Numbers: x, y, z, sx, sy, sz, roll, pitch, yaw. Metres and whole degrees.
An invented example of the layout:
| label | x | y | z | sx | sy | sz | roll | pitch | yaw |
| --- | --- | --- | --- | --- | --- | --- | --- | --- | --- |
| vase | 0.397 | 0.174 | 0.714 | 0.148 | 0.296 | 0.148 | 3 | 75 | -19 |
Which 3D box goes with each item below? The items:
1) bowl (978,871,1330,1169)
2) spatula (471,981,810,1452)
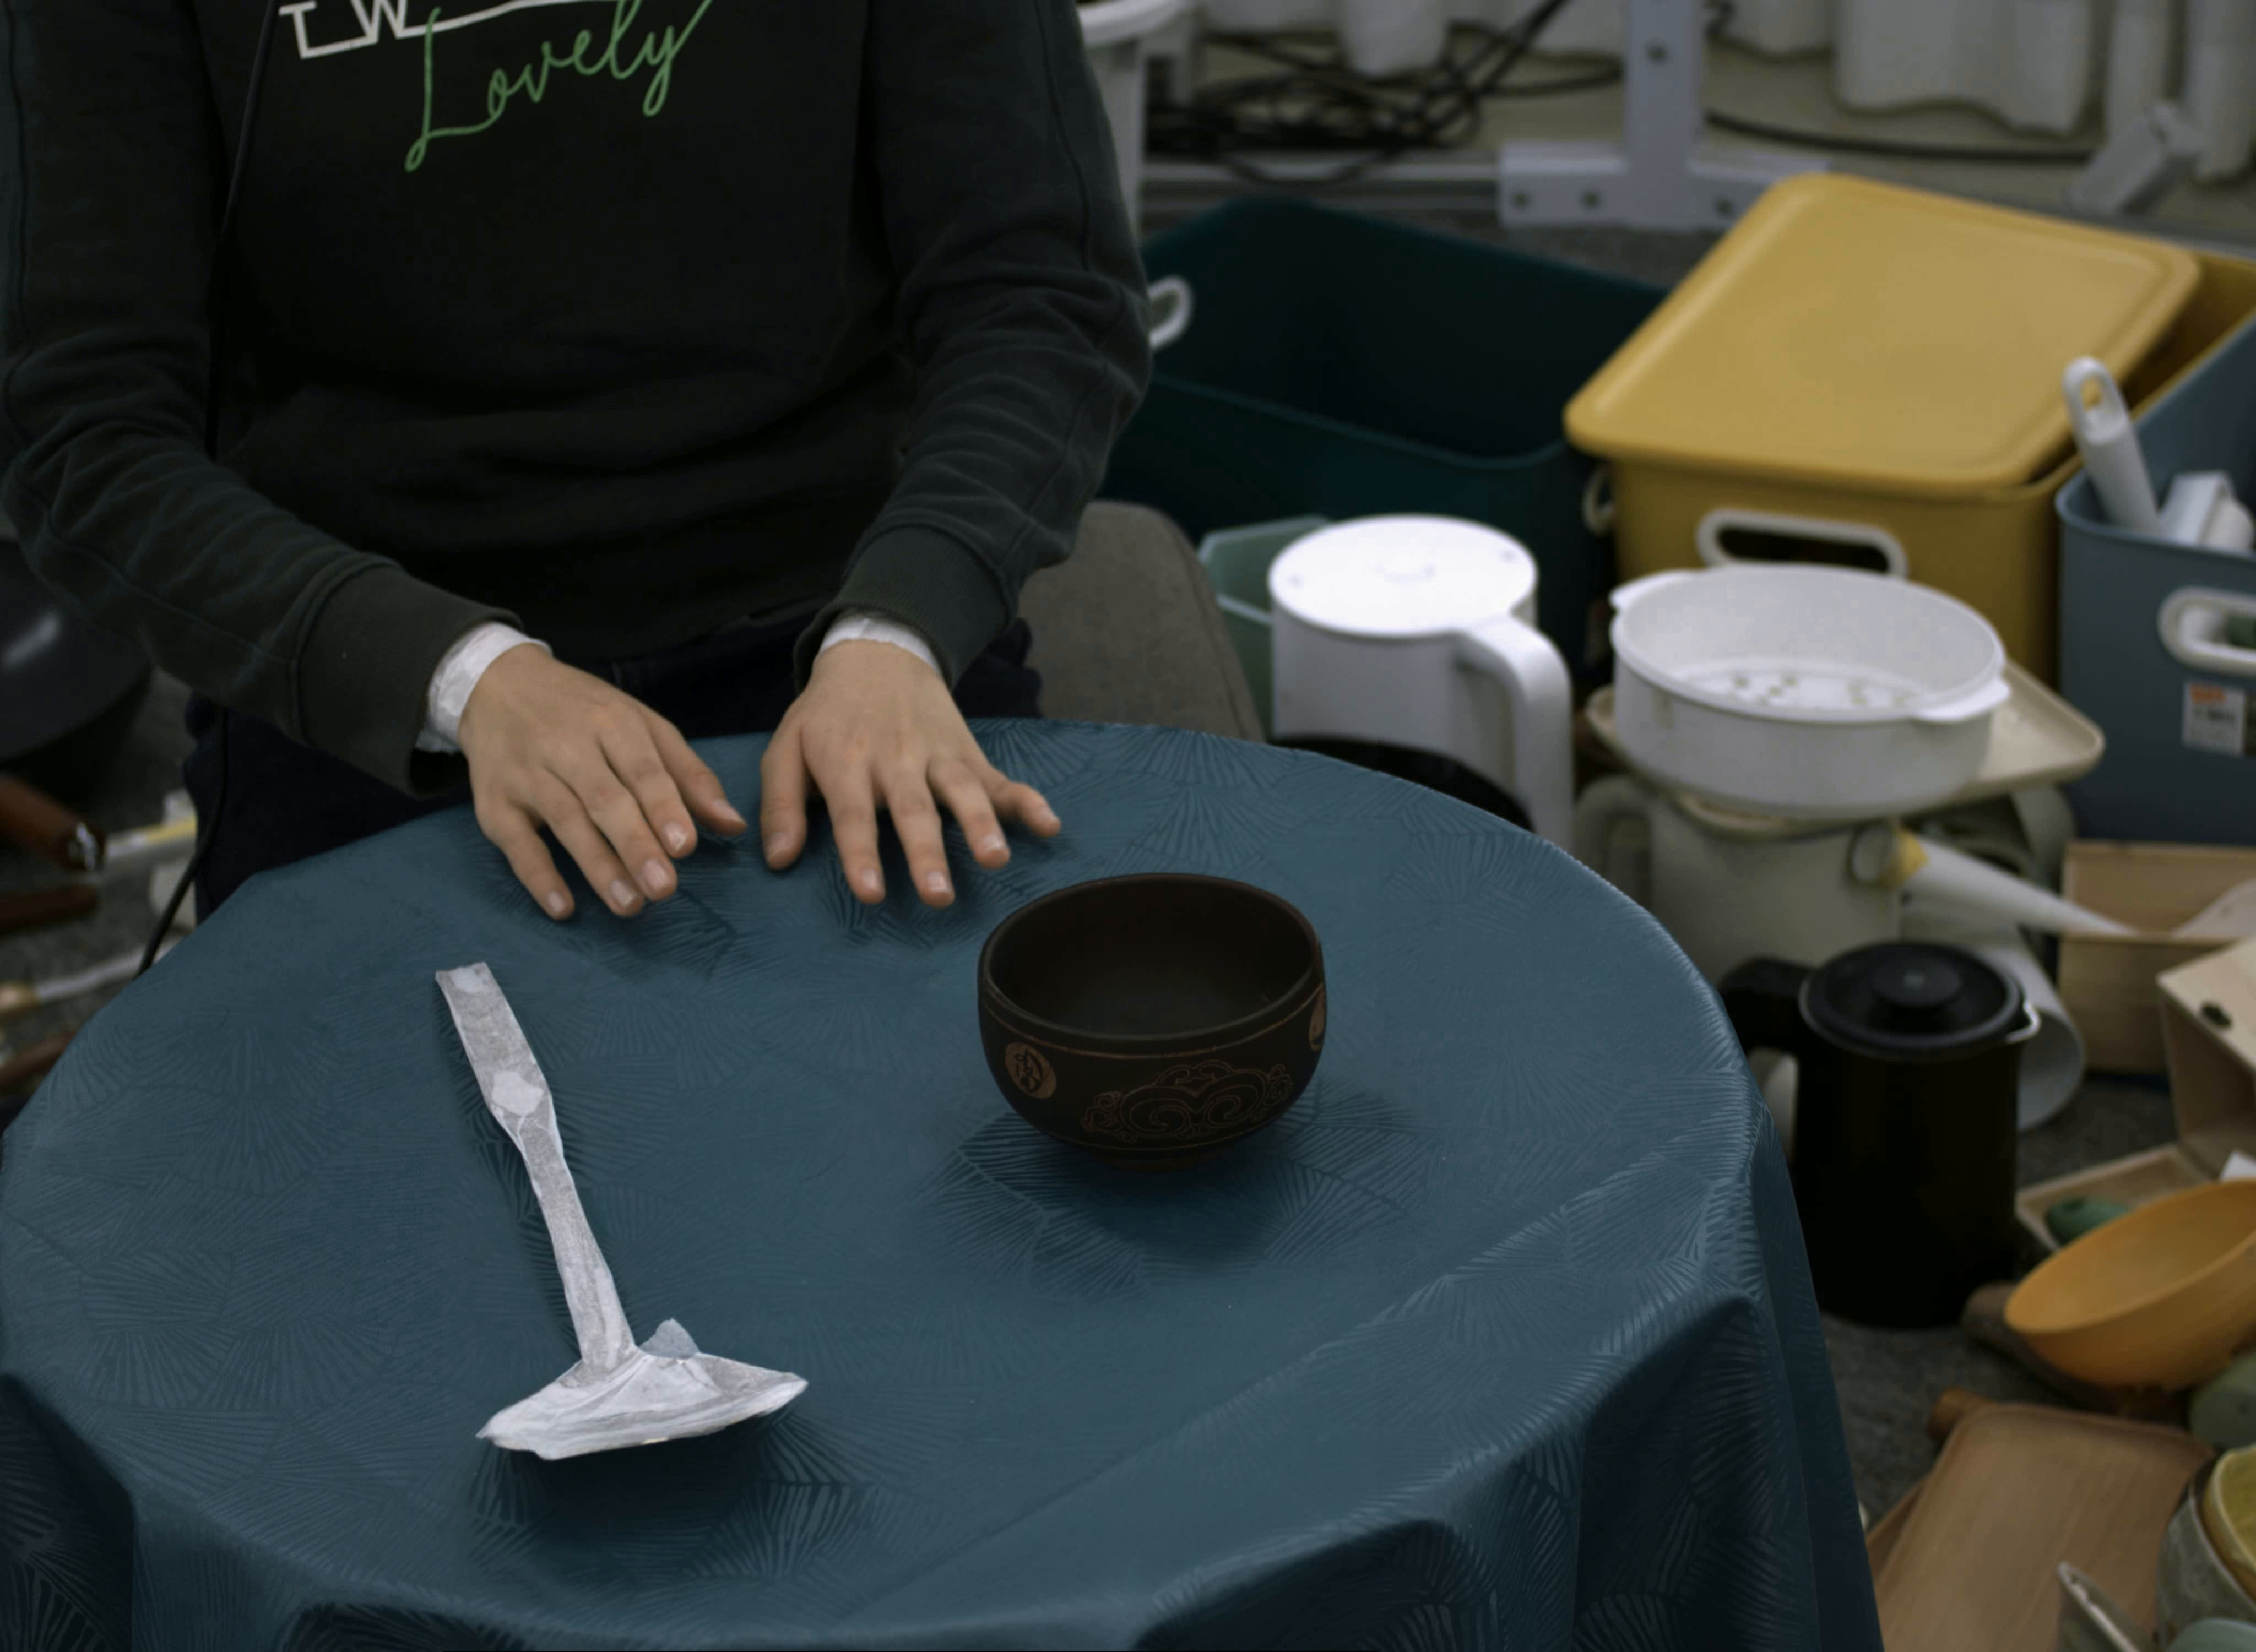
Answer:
| label | x | y | z | sx | sy | sz | roll | pitch | yaw |
| --- | --- | --- | --- | --- | --- | --- | --- | --- | --- |
| bowl | 0.009 | 0.071 | 1.881 | 0.117 | 0.069 | 0.120 | -1 | 26 | 1 |
| spatula | -0.183 | 0.120 | 1.841 | 0.099 | 0.044 | 0.369 | -11 | 28 | -11 |
